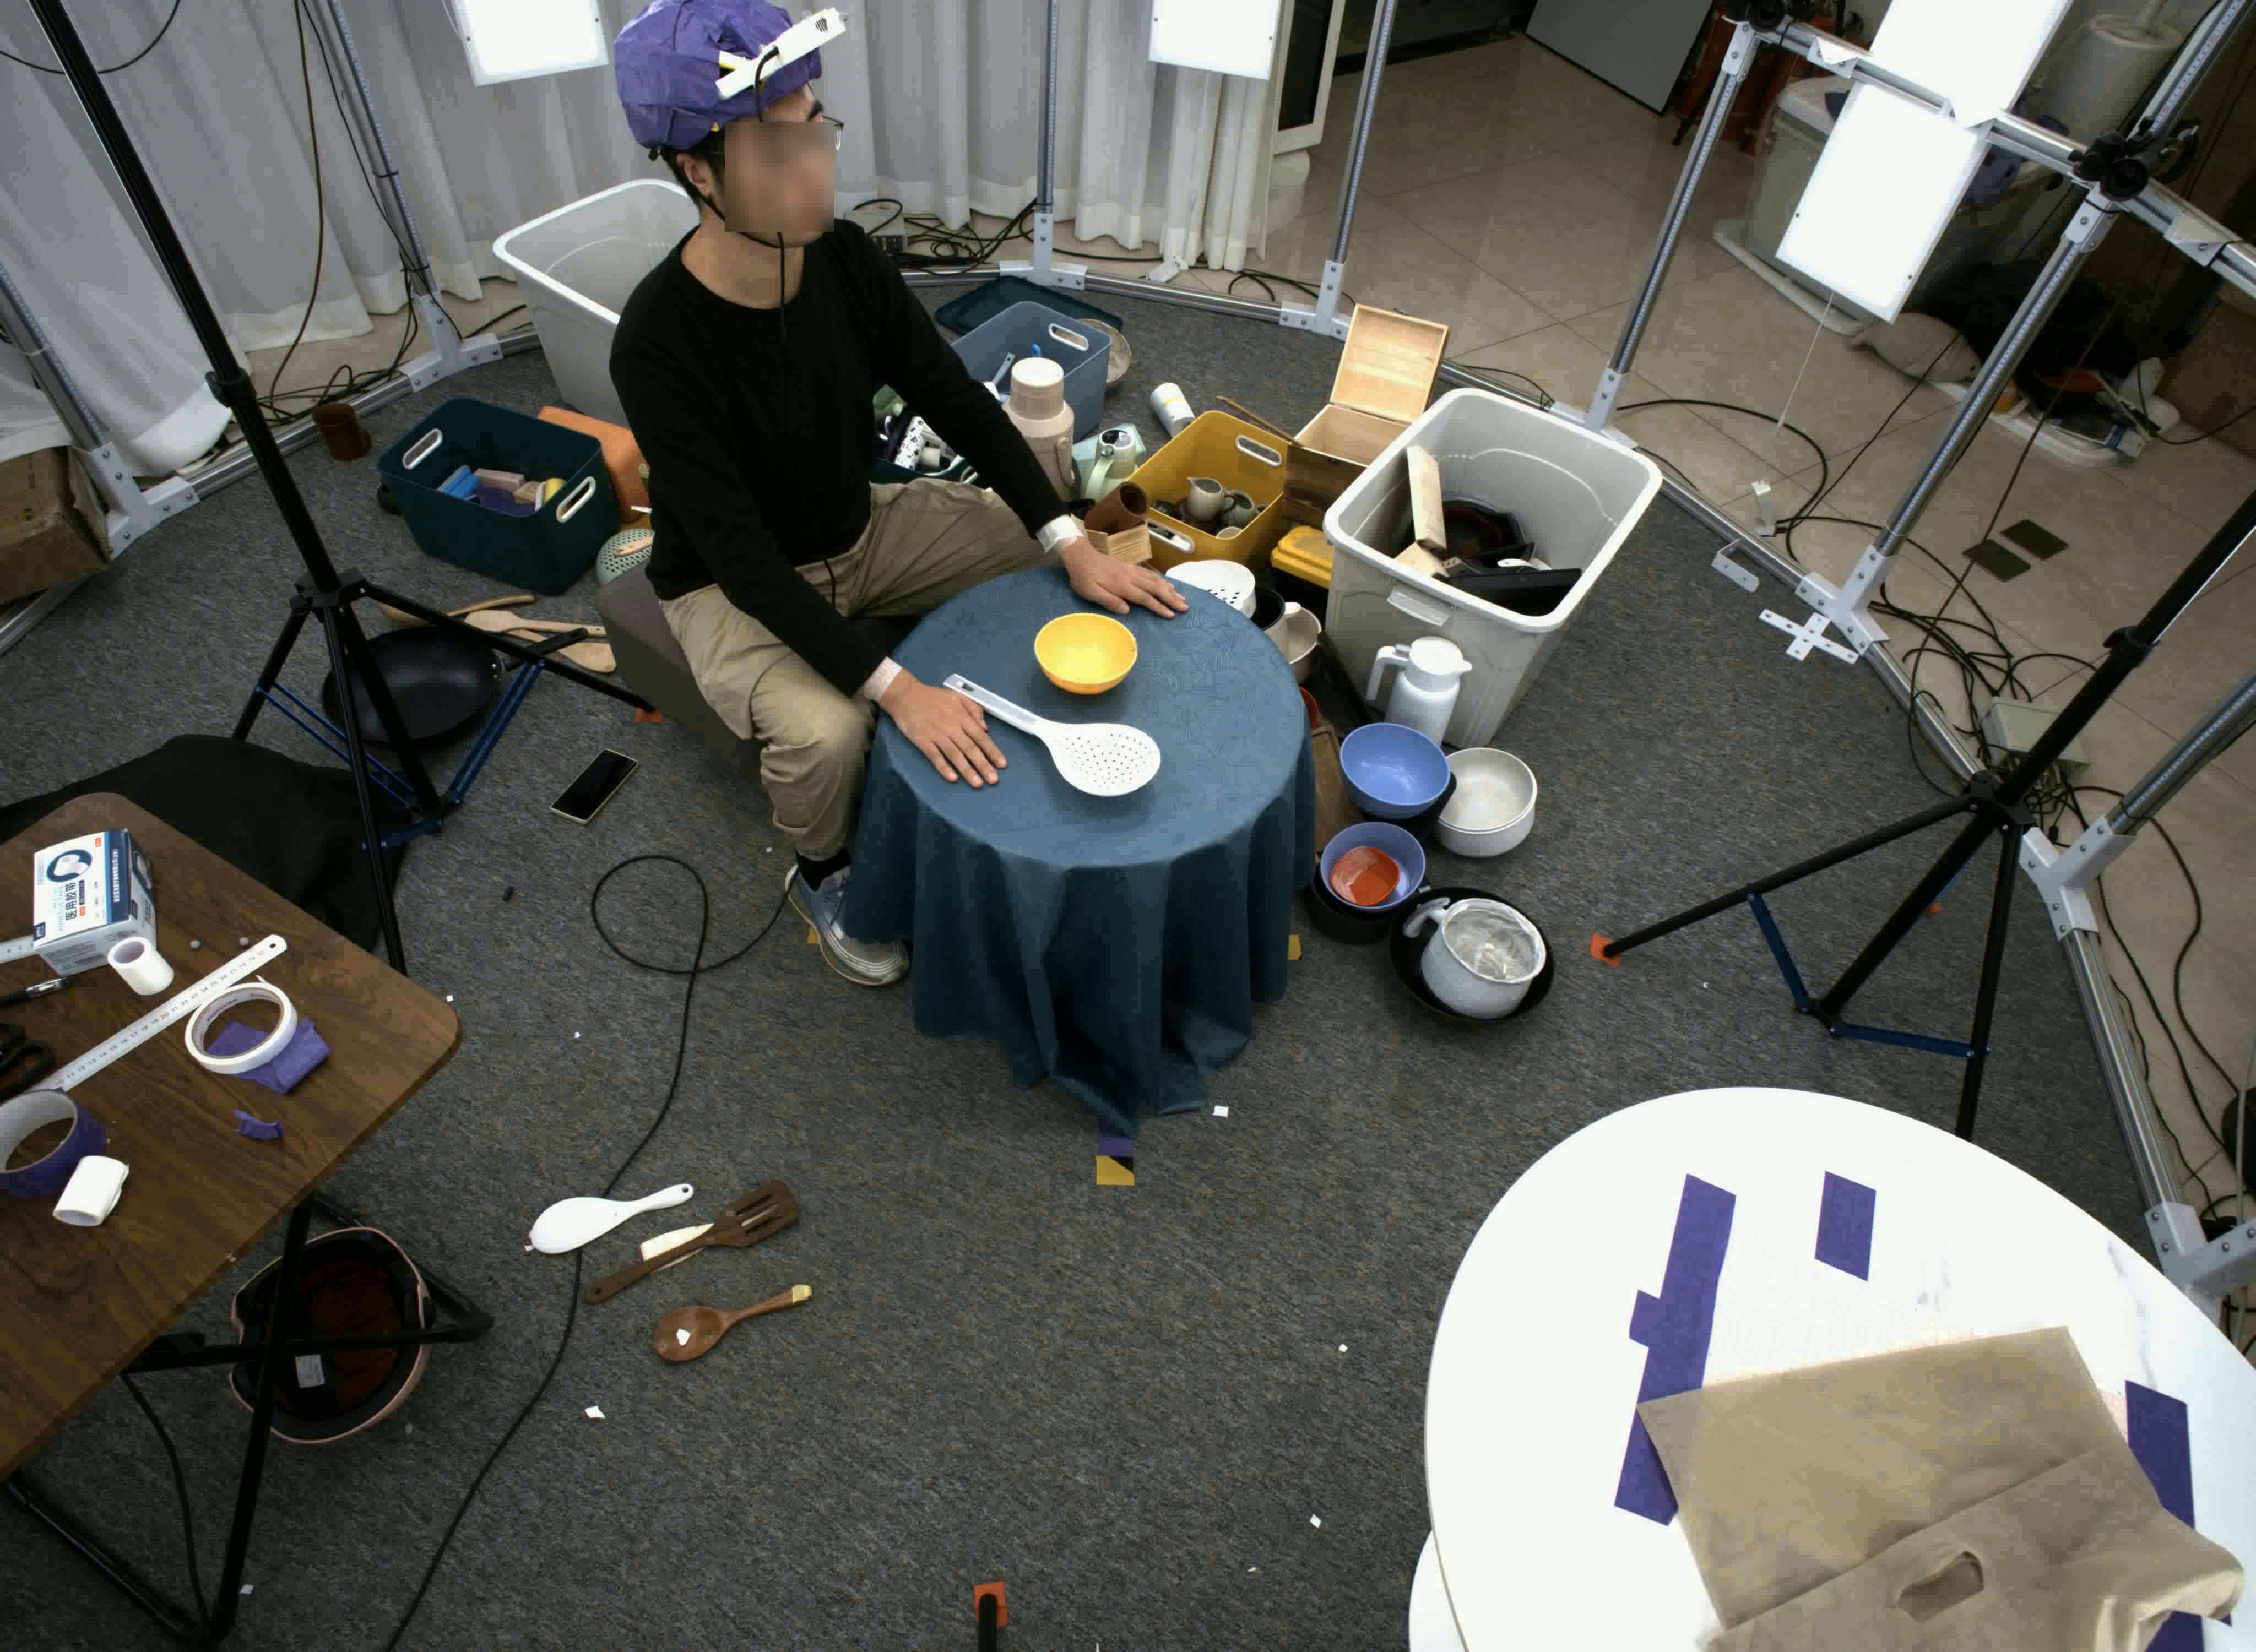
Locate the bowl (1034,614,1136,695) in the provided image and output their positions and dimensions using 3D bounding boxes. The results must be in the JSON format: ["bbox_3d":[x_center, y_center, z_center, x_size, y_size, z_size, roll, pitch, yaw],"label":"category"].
[{"bbox_3d":[-0.063,-0.233,1.832,0.145,0.058,0.149,3,48,-4],"label":"bowl"}]

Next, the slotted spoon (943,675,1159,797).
[{"bbox_3d":[-0.113,-0.130,1.745,0.353,0.044,0.138,30,53,22],"label":"slotted spoon"}]
